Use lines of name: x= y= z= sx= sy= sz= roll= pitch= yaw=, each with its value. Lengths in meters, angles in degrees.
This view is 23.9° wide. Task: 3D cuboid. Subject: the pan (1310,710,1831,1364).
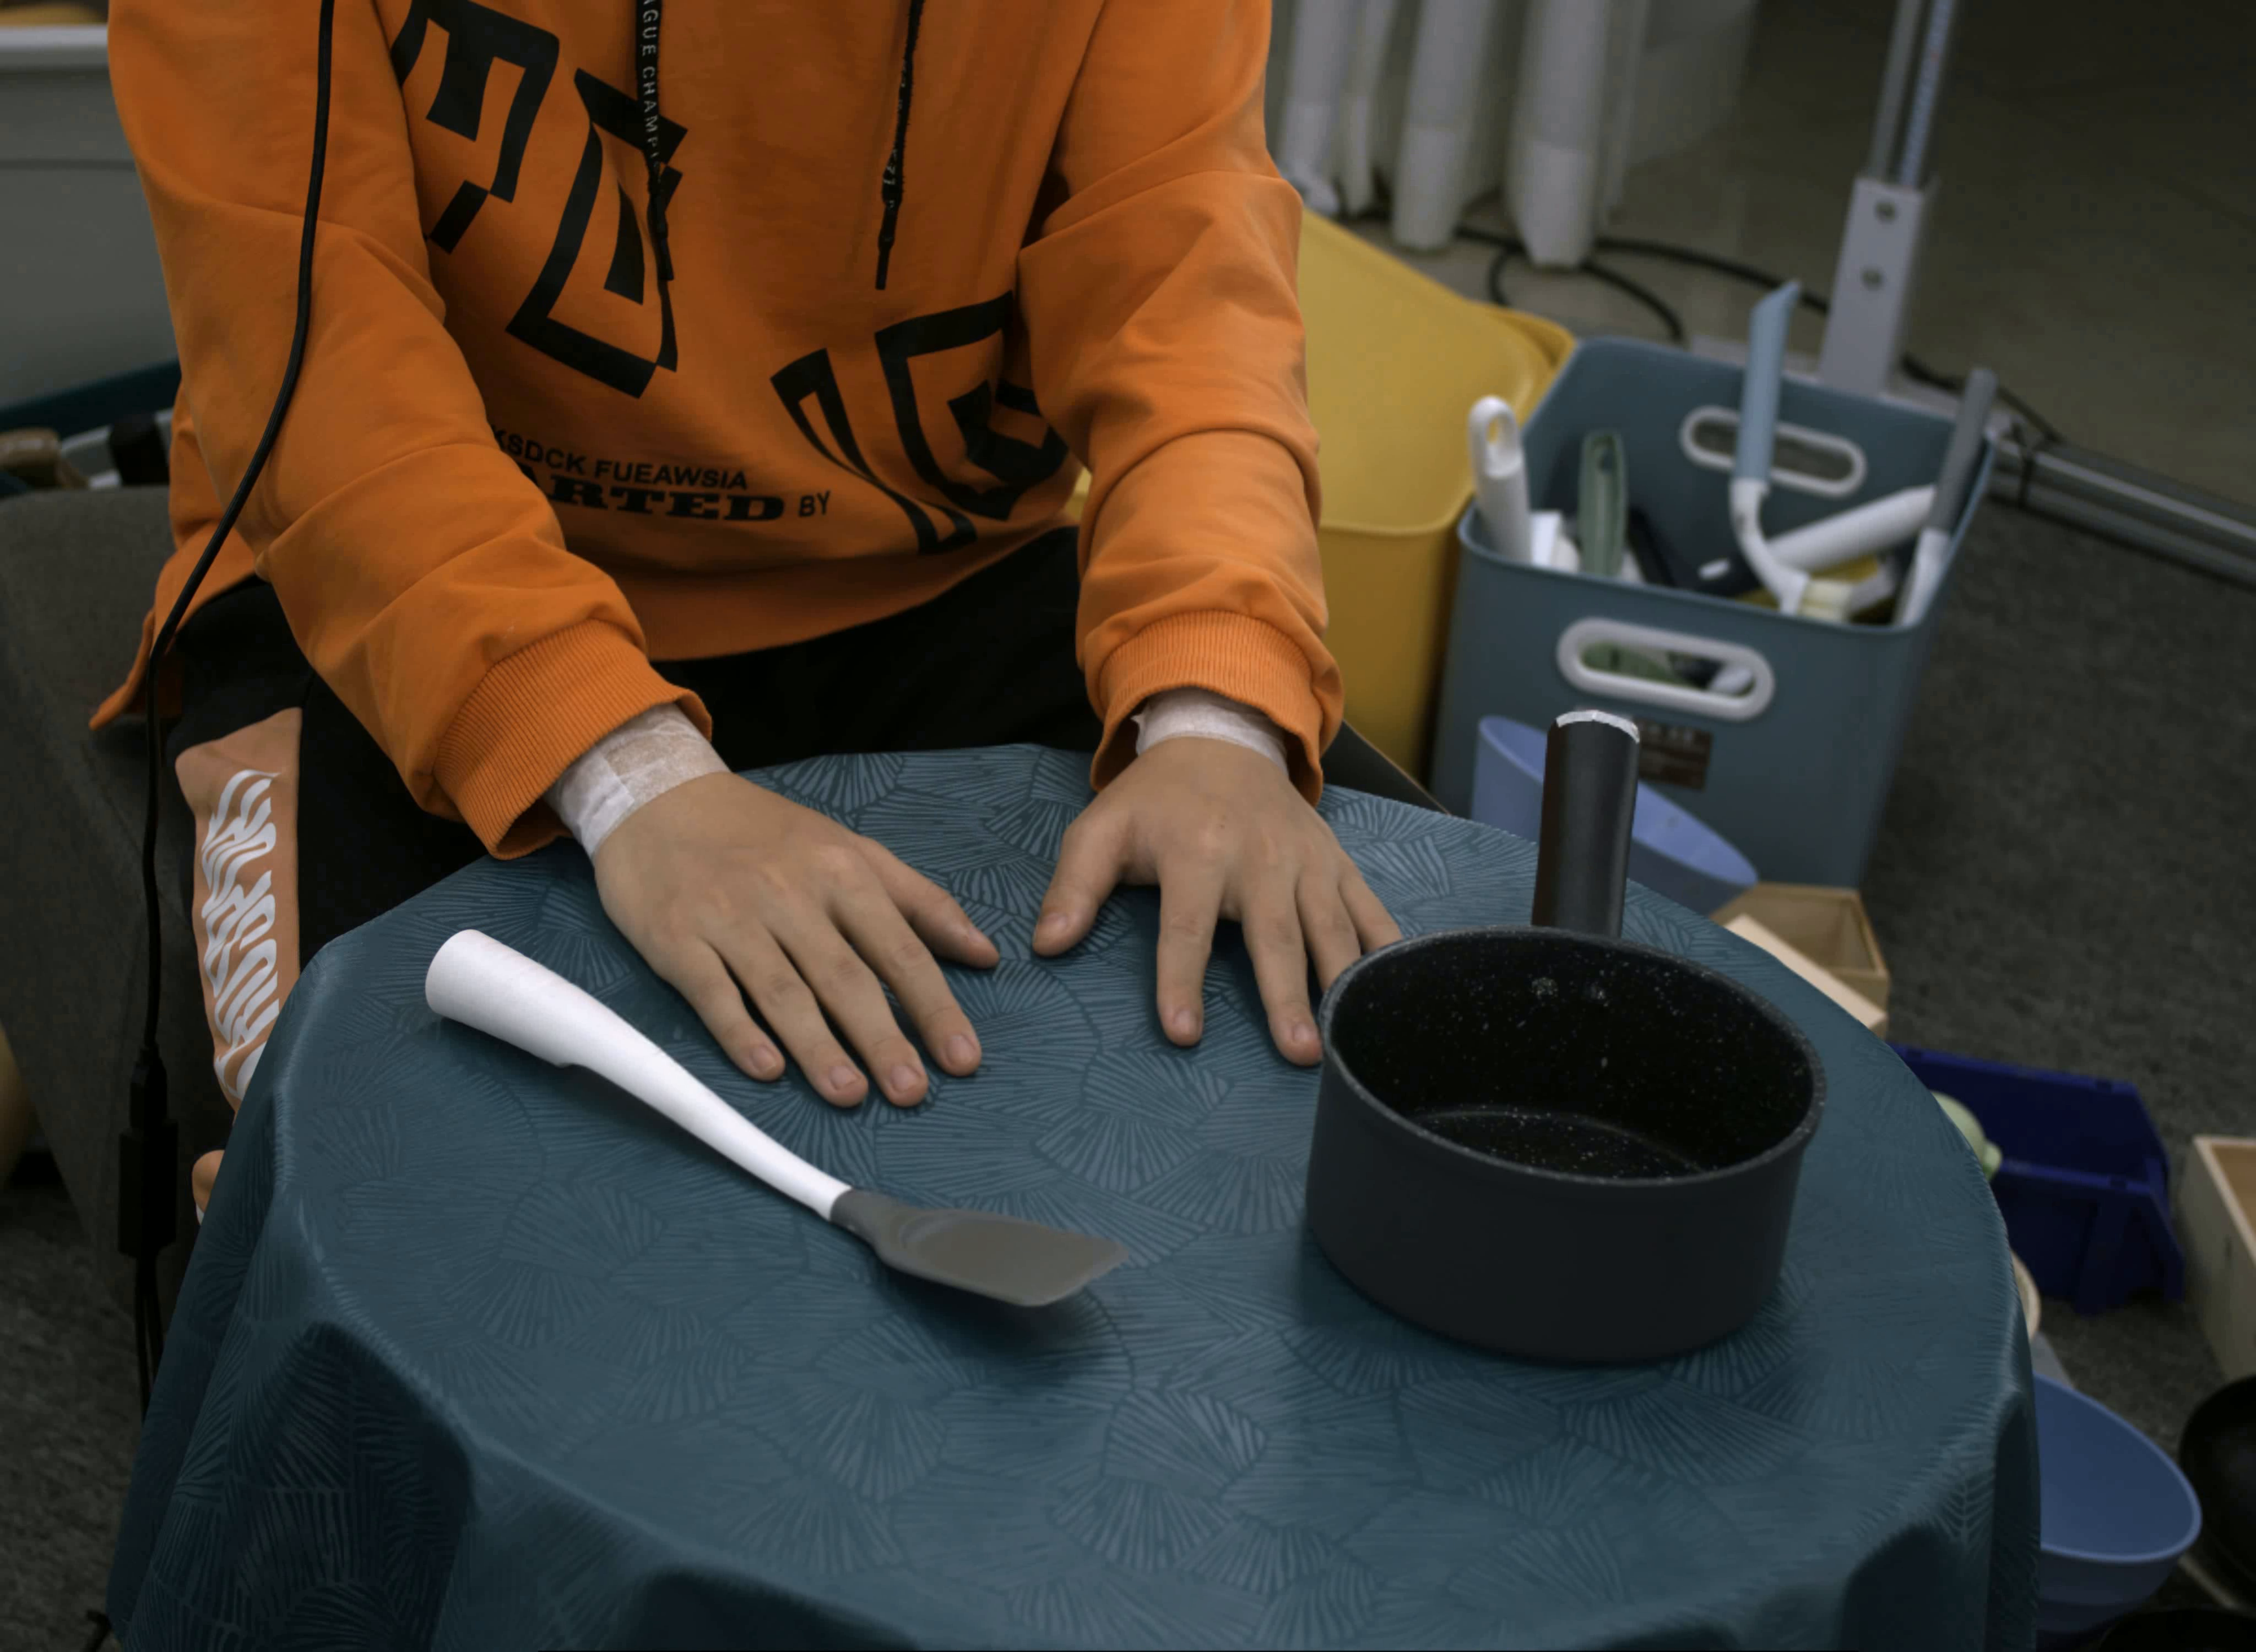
pan: x=0.156 y=0.068 z=1.852 sx=0.172 sy=0.086 sz=0.330 roll=10 pitch=29 yaw=5

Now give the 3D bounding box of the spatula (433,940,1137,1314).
spatula: x=-0.121 y=0.104 z=1.779 sx=0.289 sy=0.032 sz=0.058 roll=24 pitch=27 yaw=33
